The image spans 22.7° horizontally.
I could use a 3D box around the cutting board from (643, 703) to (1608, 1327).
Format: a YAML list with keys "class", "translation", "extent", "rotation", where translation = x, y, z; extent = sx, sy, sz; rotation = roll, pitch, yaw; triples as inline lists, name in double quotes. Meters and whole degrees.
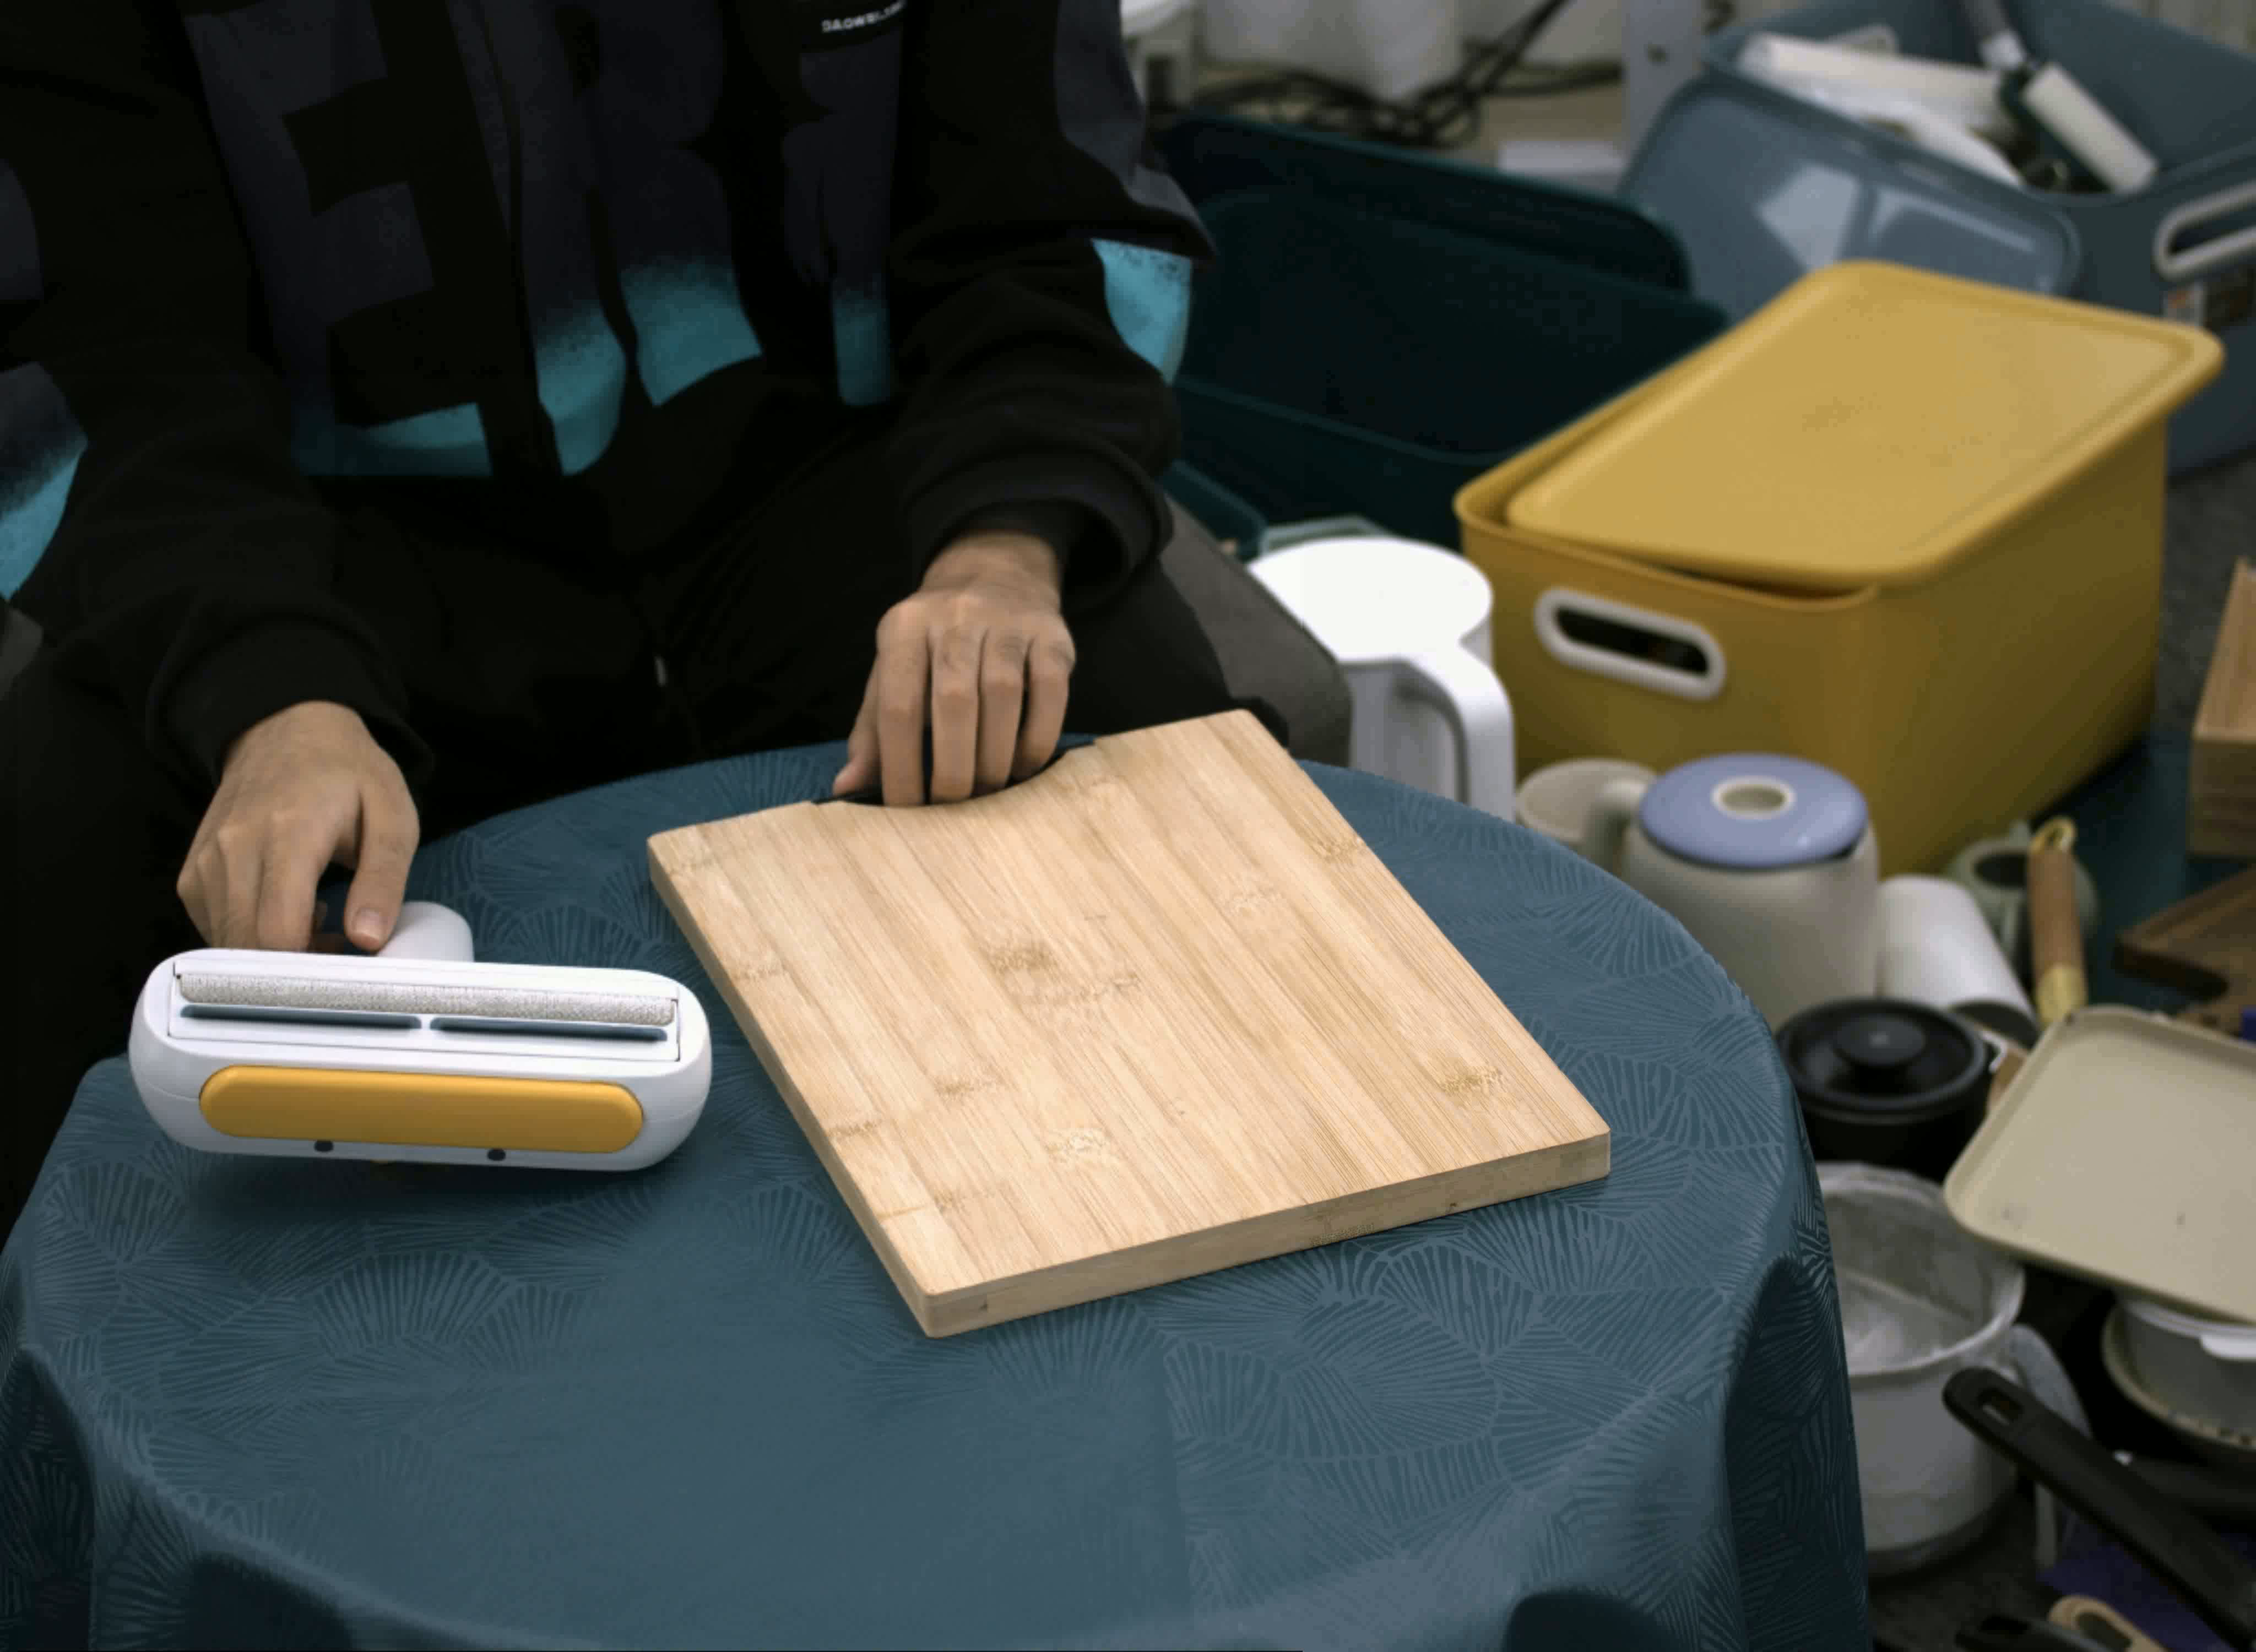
- class: "cutting board"
  translation: [-0.010, 0.059, 1.965]
  extent: [0.251, 0.023, 0.351]
  rotation: [-12, 29, -17]

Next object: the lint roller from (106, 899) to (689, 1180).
- class: "lint roller"
  translation: [-0.246, 0.060, 1.931]
  extent: [0.192, 0.073, 0.195]
  rotation: [1, 26, -4]
